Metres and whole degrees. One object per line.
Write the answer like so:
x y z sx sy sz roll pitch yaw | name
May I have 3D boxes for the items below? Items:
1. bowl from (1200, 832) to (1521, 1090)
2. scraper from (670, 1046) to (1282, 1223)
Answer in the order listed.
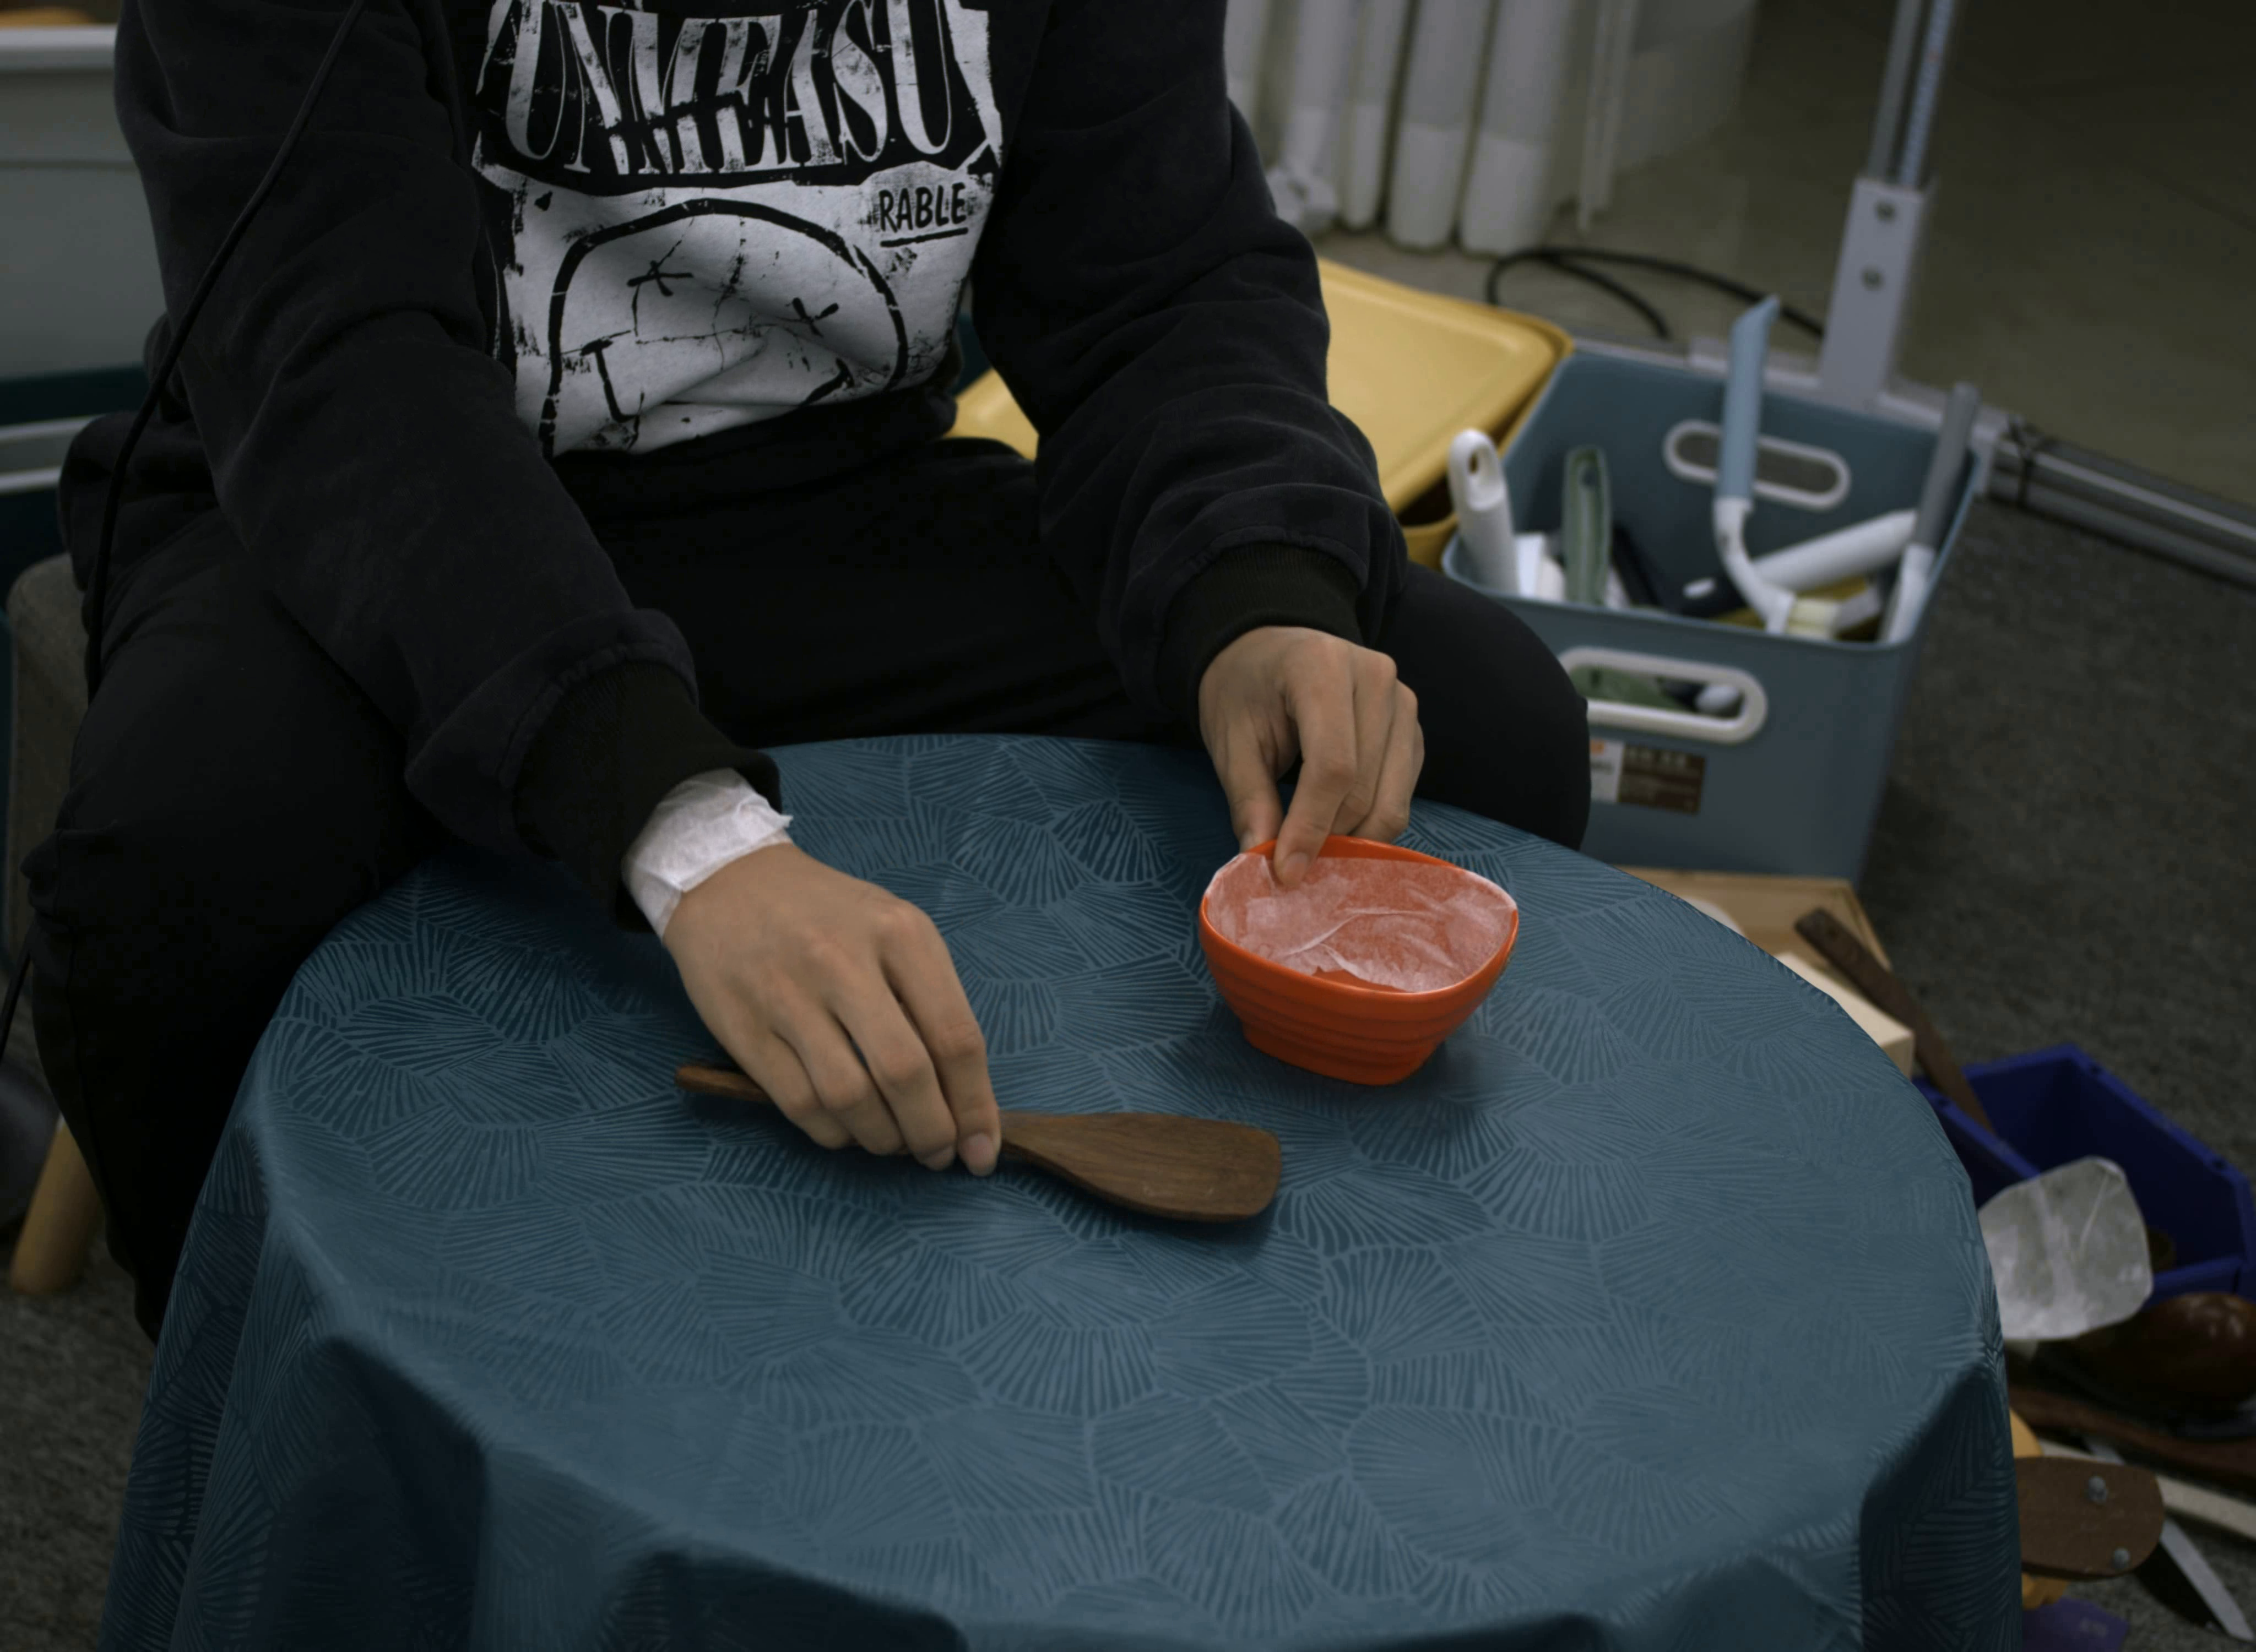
0.081 0.053 1.903 0.118 0.051 0.119 5 29 -3 | bowl
-0.052 0.101 1.809 0.211 0.011 0.076 11 22 3 | scraper
